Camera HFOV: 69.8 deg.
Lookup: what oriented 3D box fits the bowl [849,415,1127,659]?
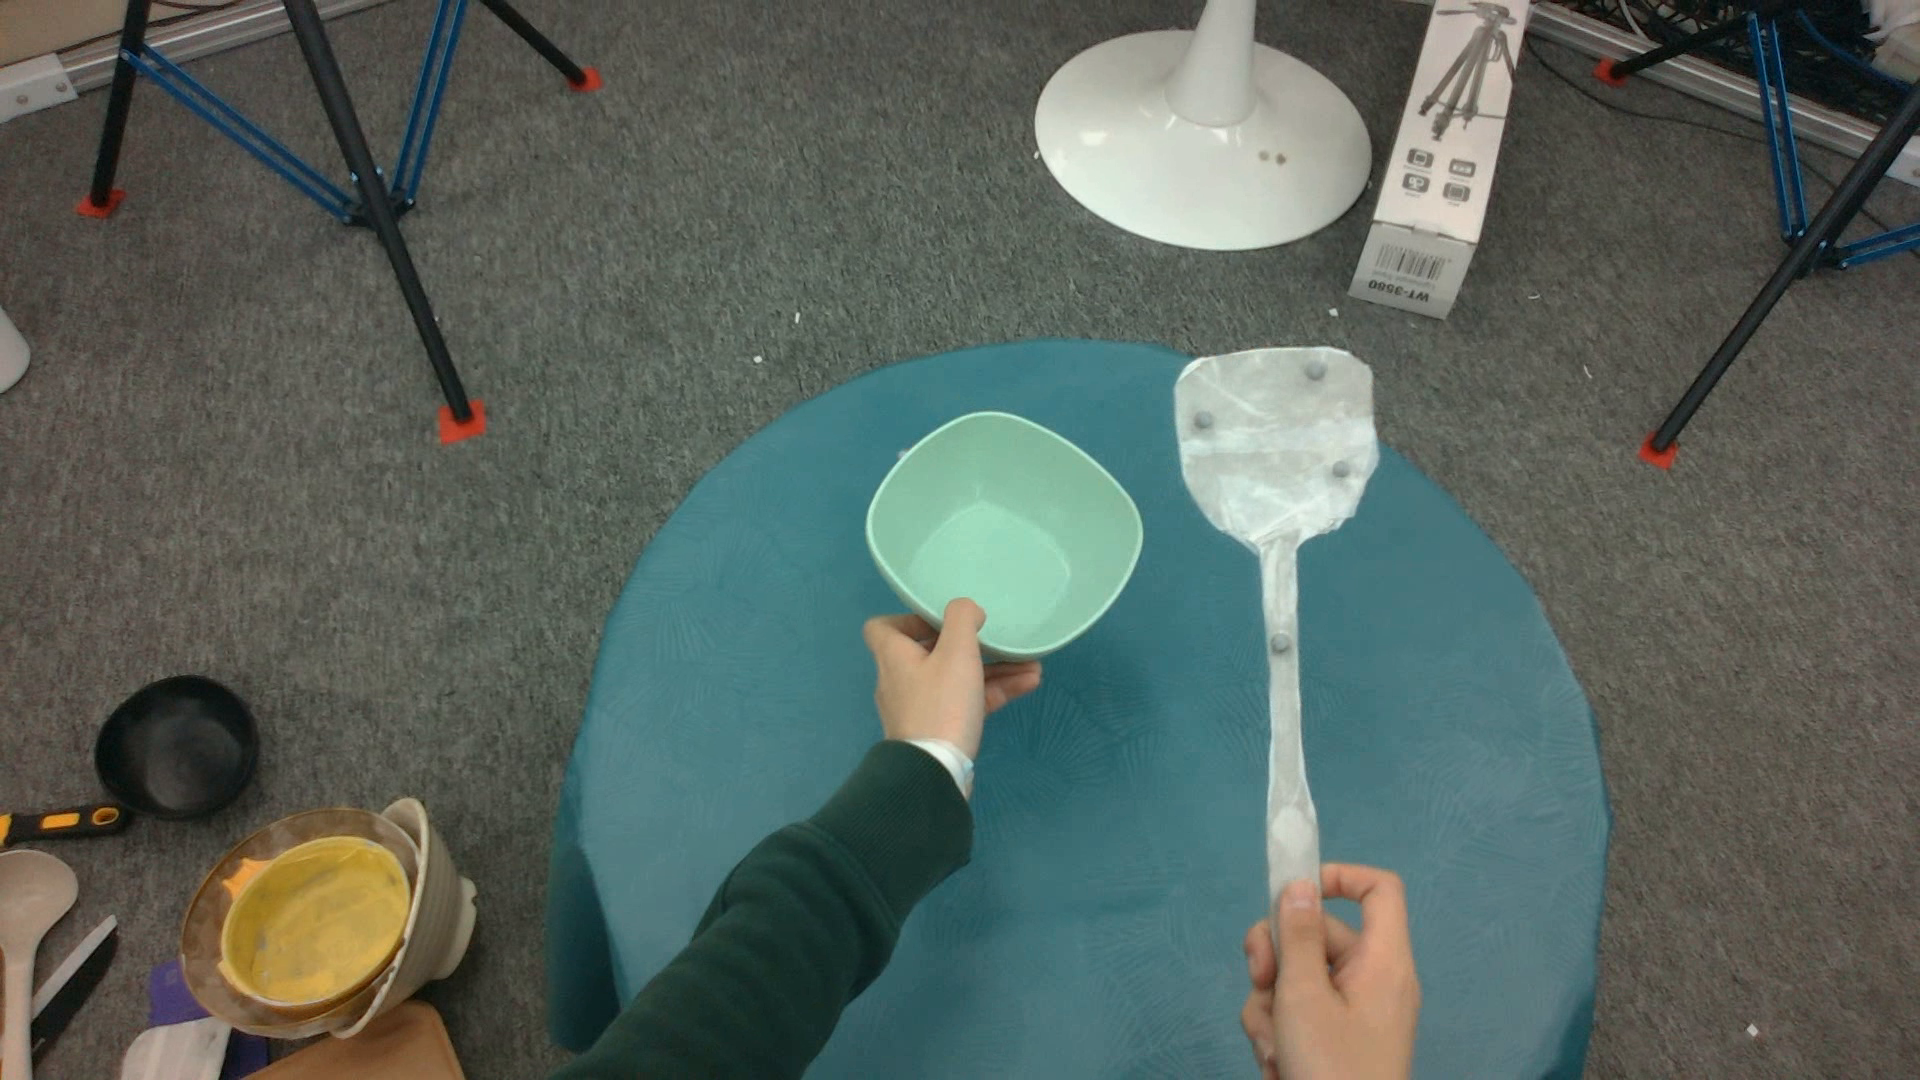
[{"bbox_3d":[0.012,0.007,0.756,0.151,0.058,0.152,5,56,-8],"label":"bowl"}]

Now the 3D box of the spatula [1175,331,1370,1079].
[{"bbox_3d":[0.144,0.061,0.642,0.098,0.044,0.366,2,60,10],"label":"spatula"}]
